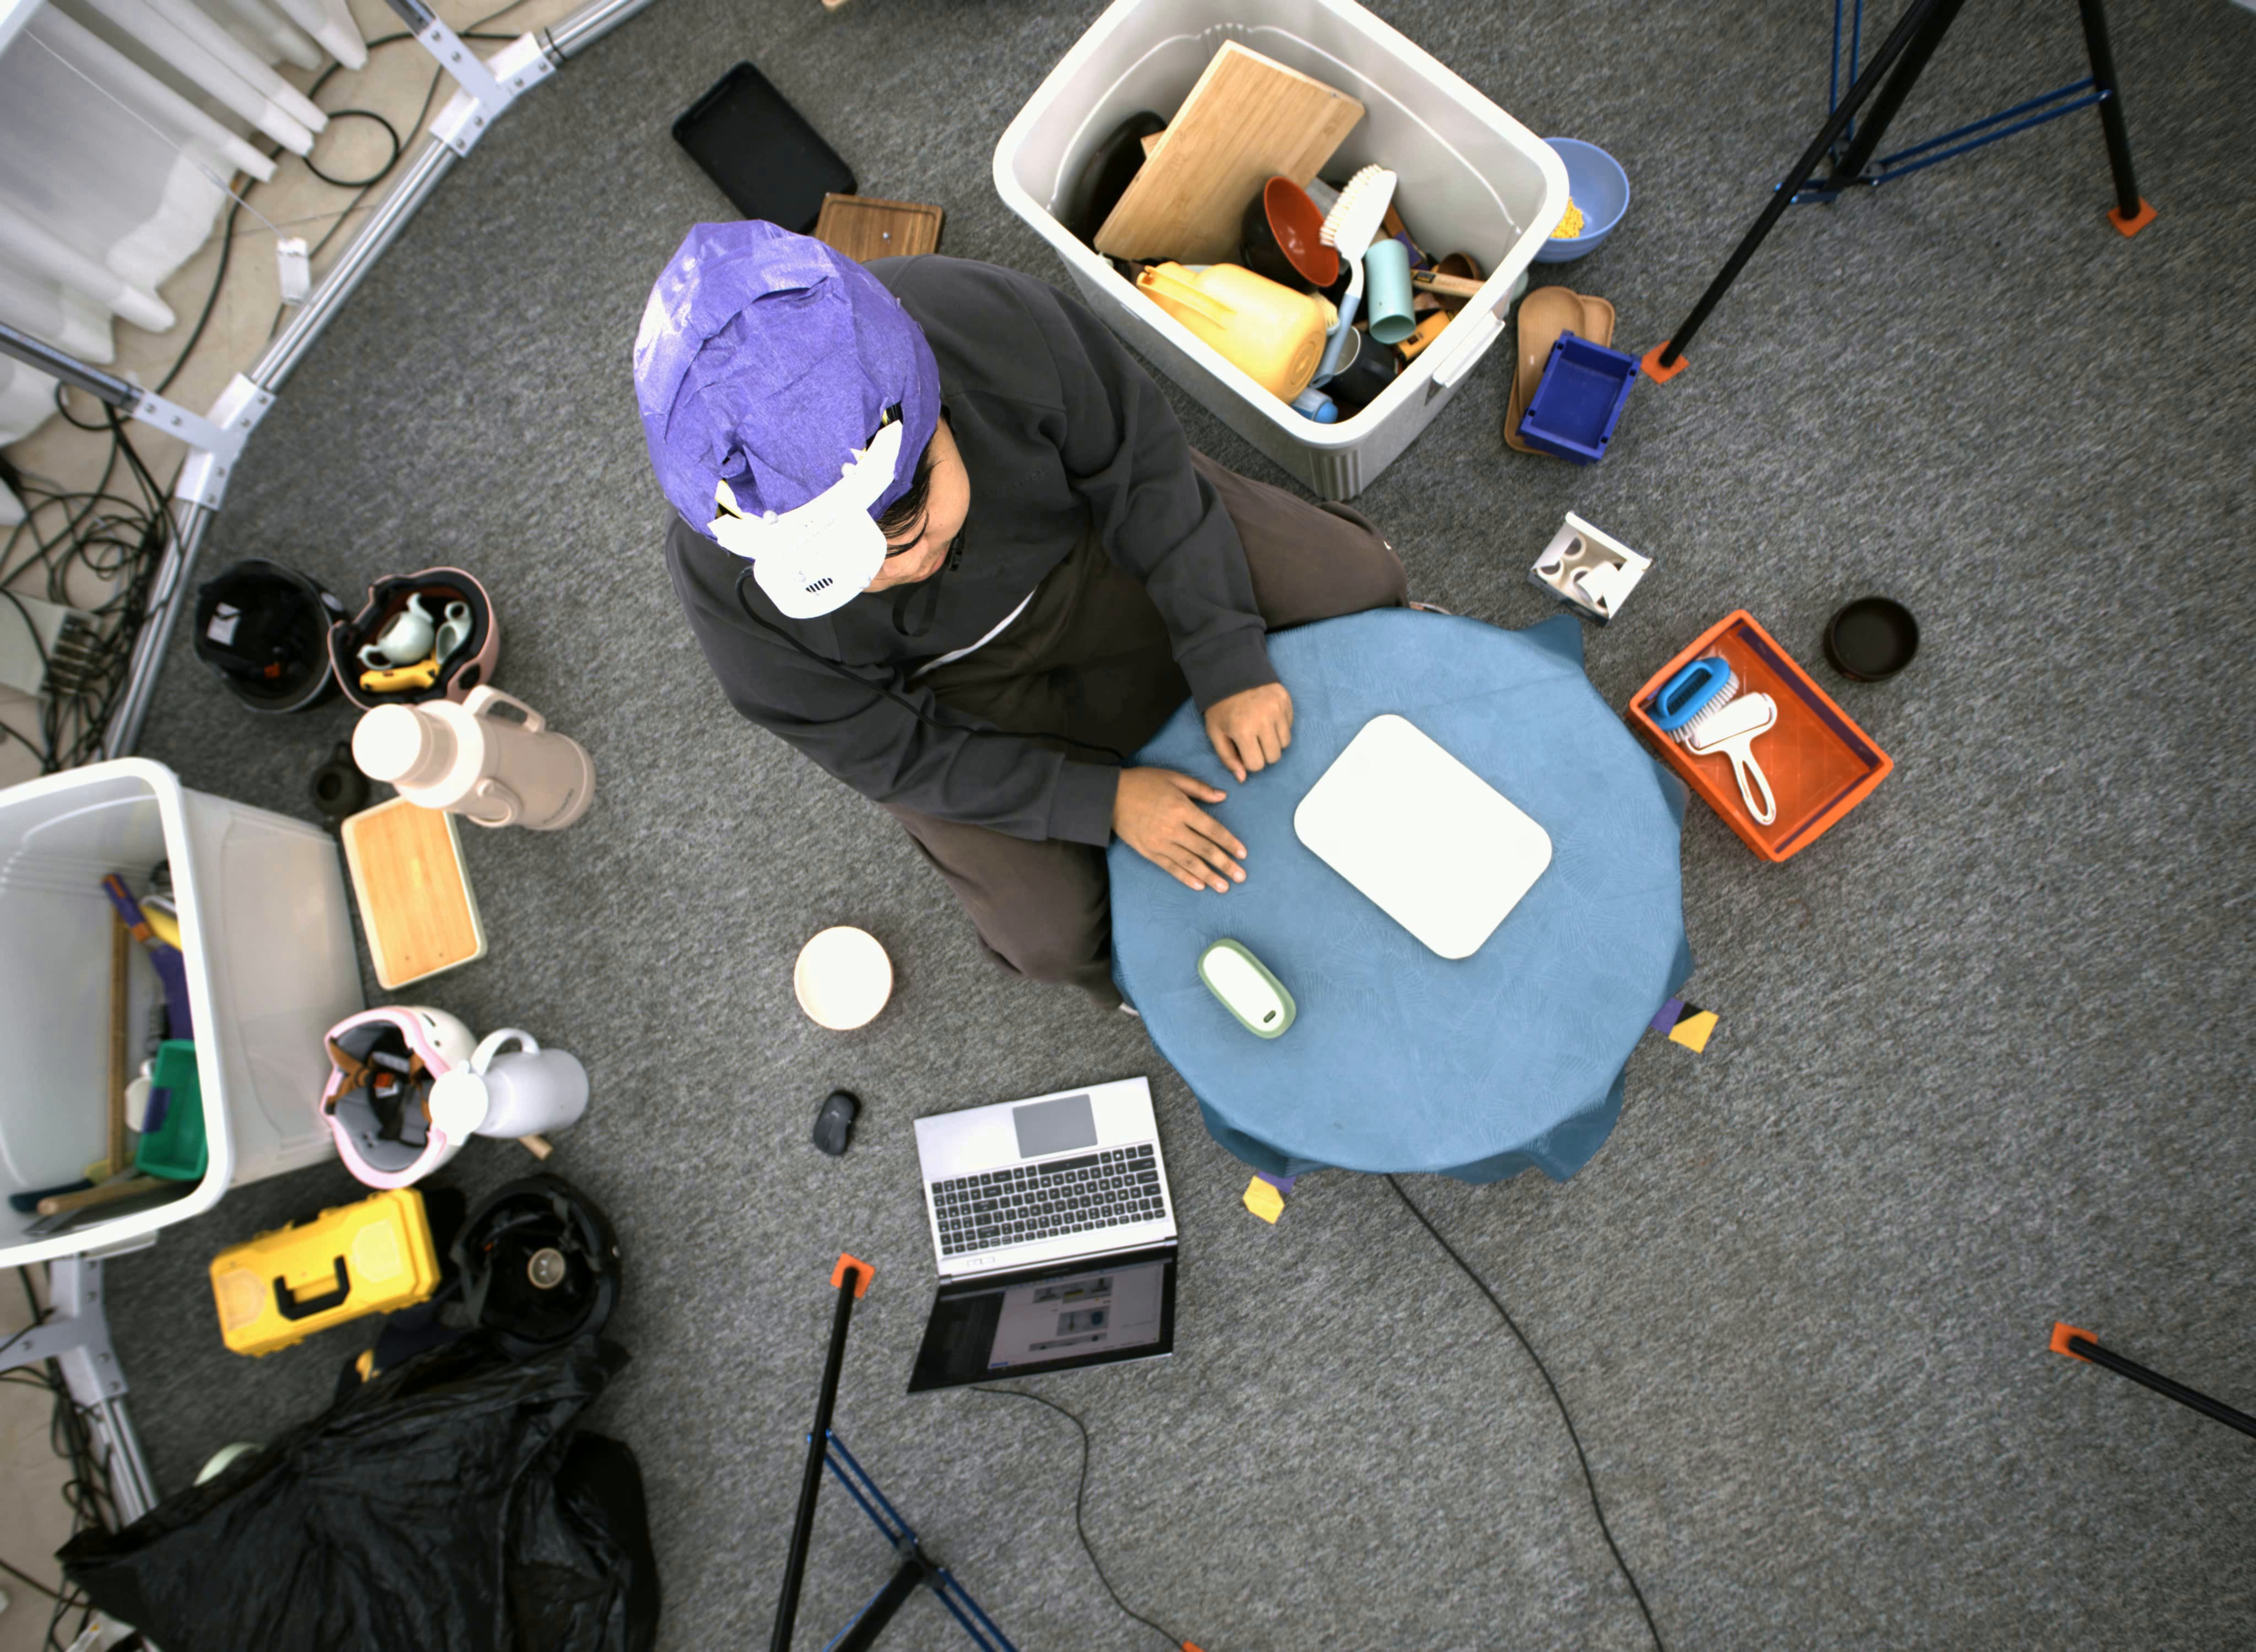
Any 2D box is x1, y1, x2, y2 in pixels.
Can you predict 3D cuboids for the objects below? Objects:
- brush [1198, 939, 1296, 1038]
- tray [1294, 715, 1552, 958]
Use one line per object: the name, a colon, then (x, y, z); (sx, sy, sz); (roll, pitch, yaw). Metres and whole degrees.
brush: (0.125, 0.171, 1.456); (0.060, 0.076, 0.121); (-46, 65, 3)
tray: (0.308, 0.009, 1.448); (0.238, 0.017, 0.172); (40, 94, 11)
